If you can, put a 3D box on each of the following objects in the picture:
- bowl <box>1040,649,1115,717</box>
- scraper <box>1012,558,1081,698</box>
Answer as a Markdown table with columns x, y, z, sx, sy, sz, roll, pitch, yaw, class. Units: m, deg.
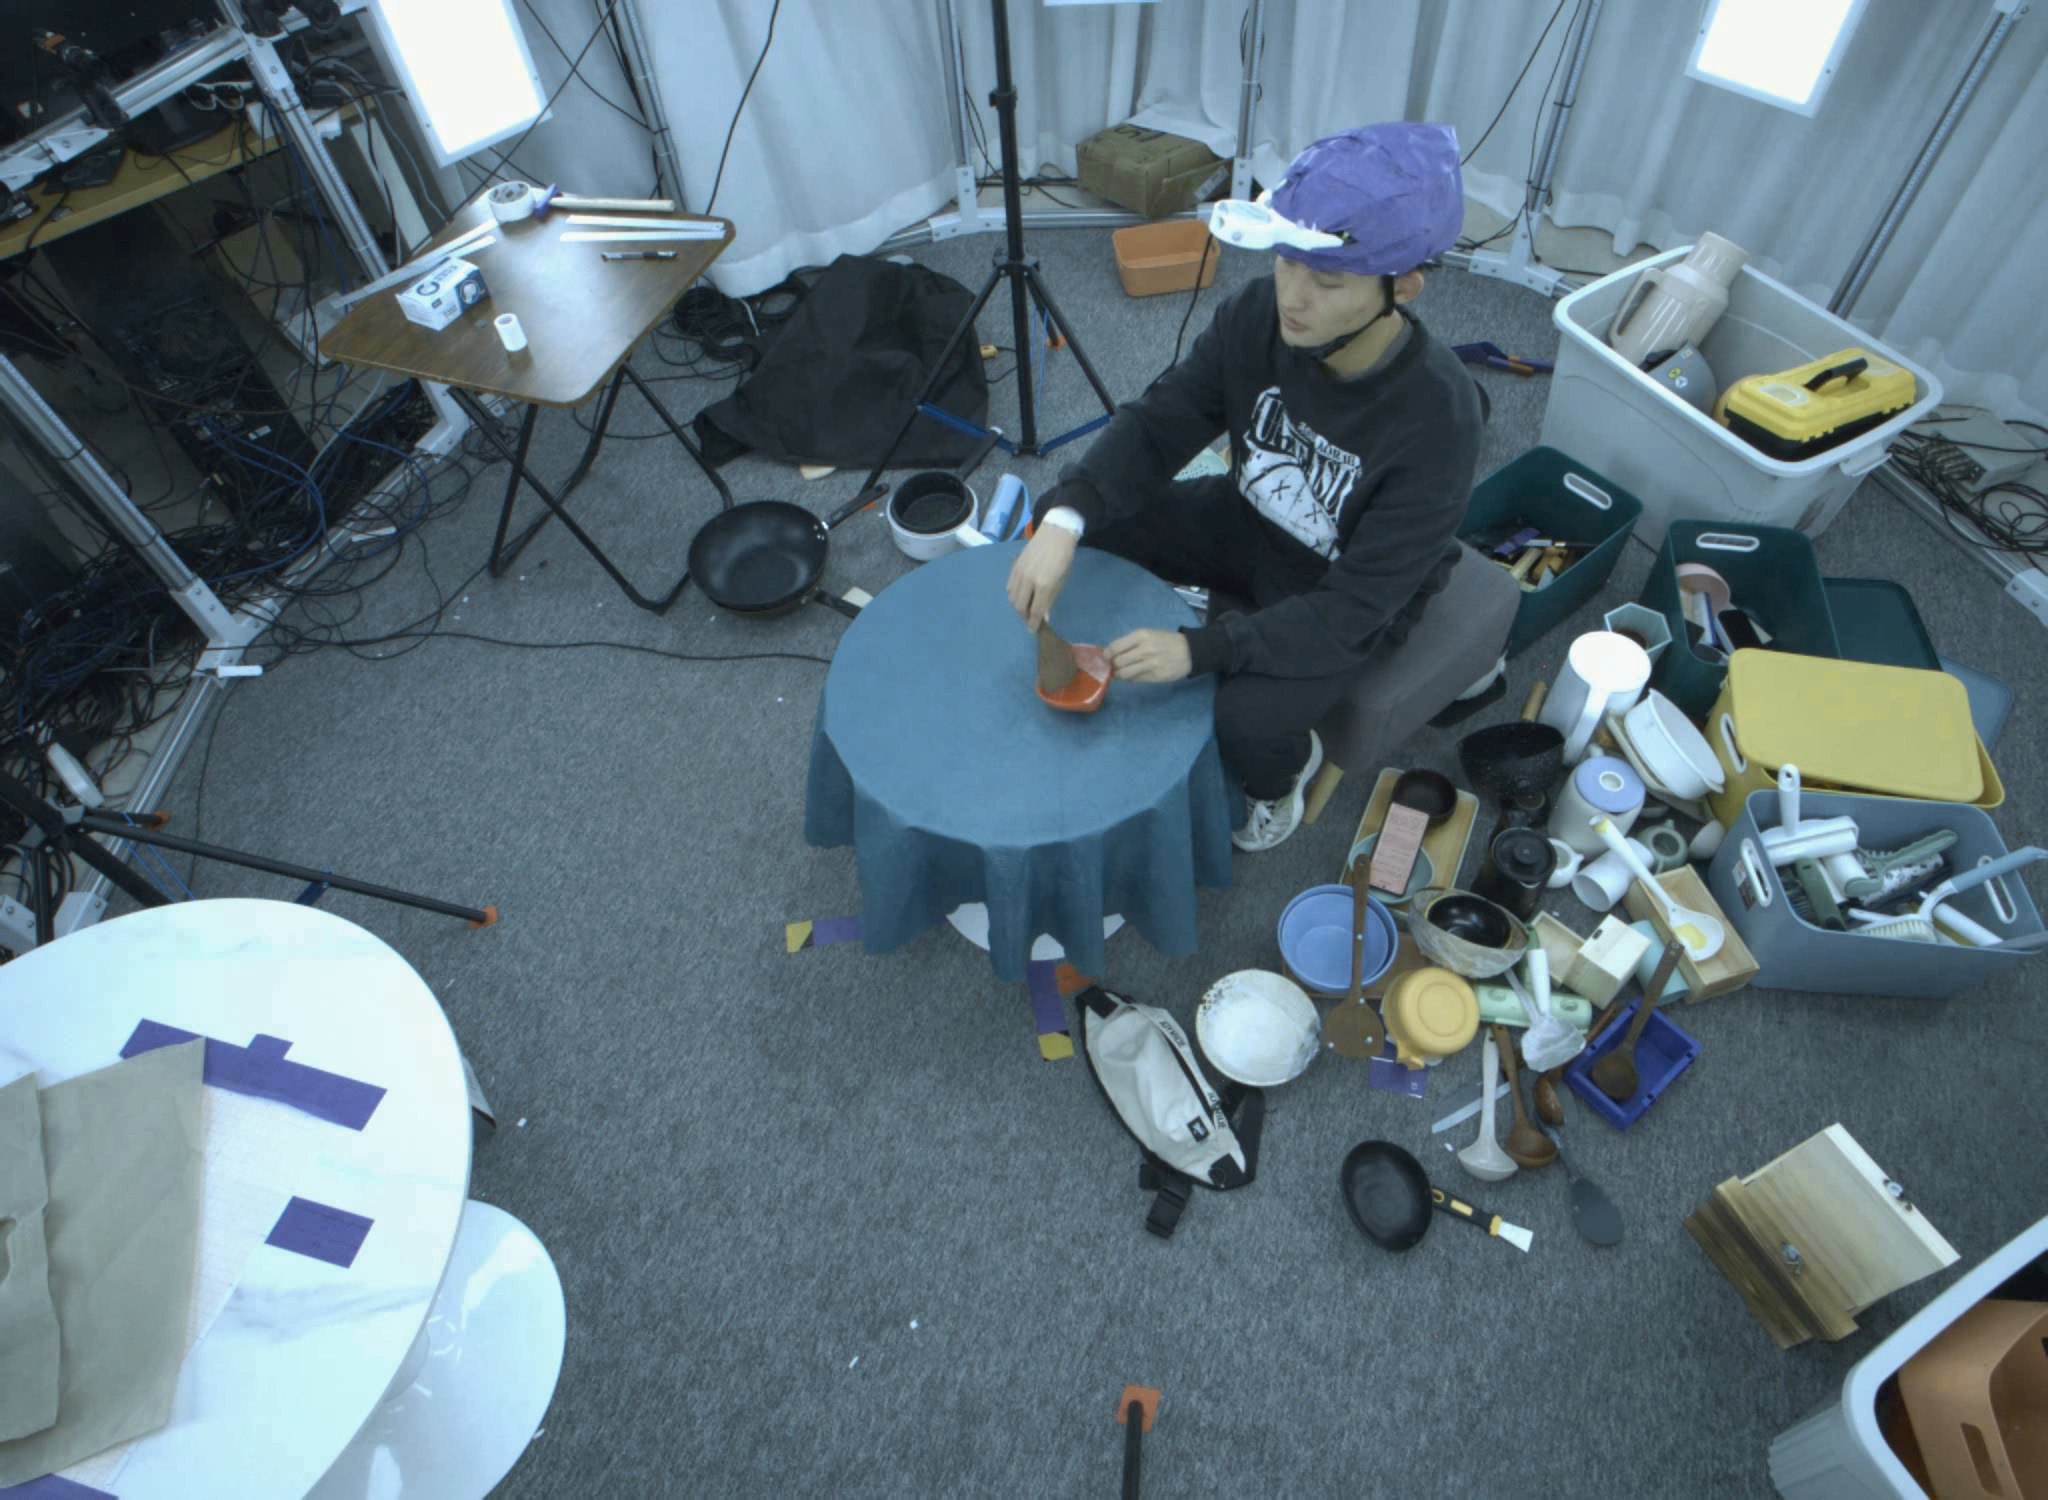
| x | y | z | sx | sy | sz | roll | pitch | yaw | class |
| --- | --- | --- | --- | --- | --- | --- | --- | --- | --- |
| 0.086 | -0.092 | 1.819 | 0.118 | 0.052 | 0.117 | -11 | 53 | 17 | bowl |
| 0.025 | -0.183 | 1.800 | 0.011 | 0.075 | 0.210 | -14 | 82 | -50 | scraper |
